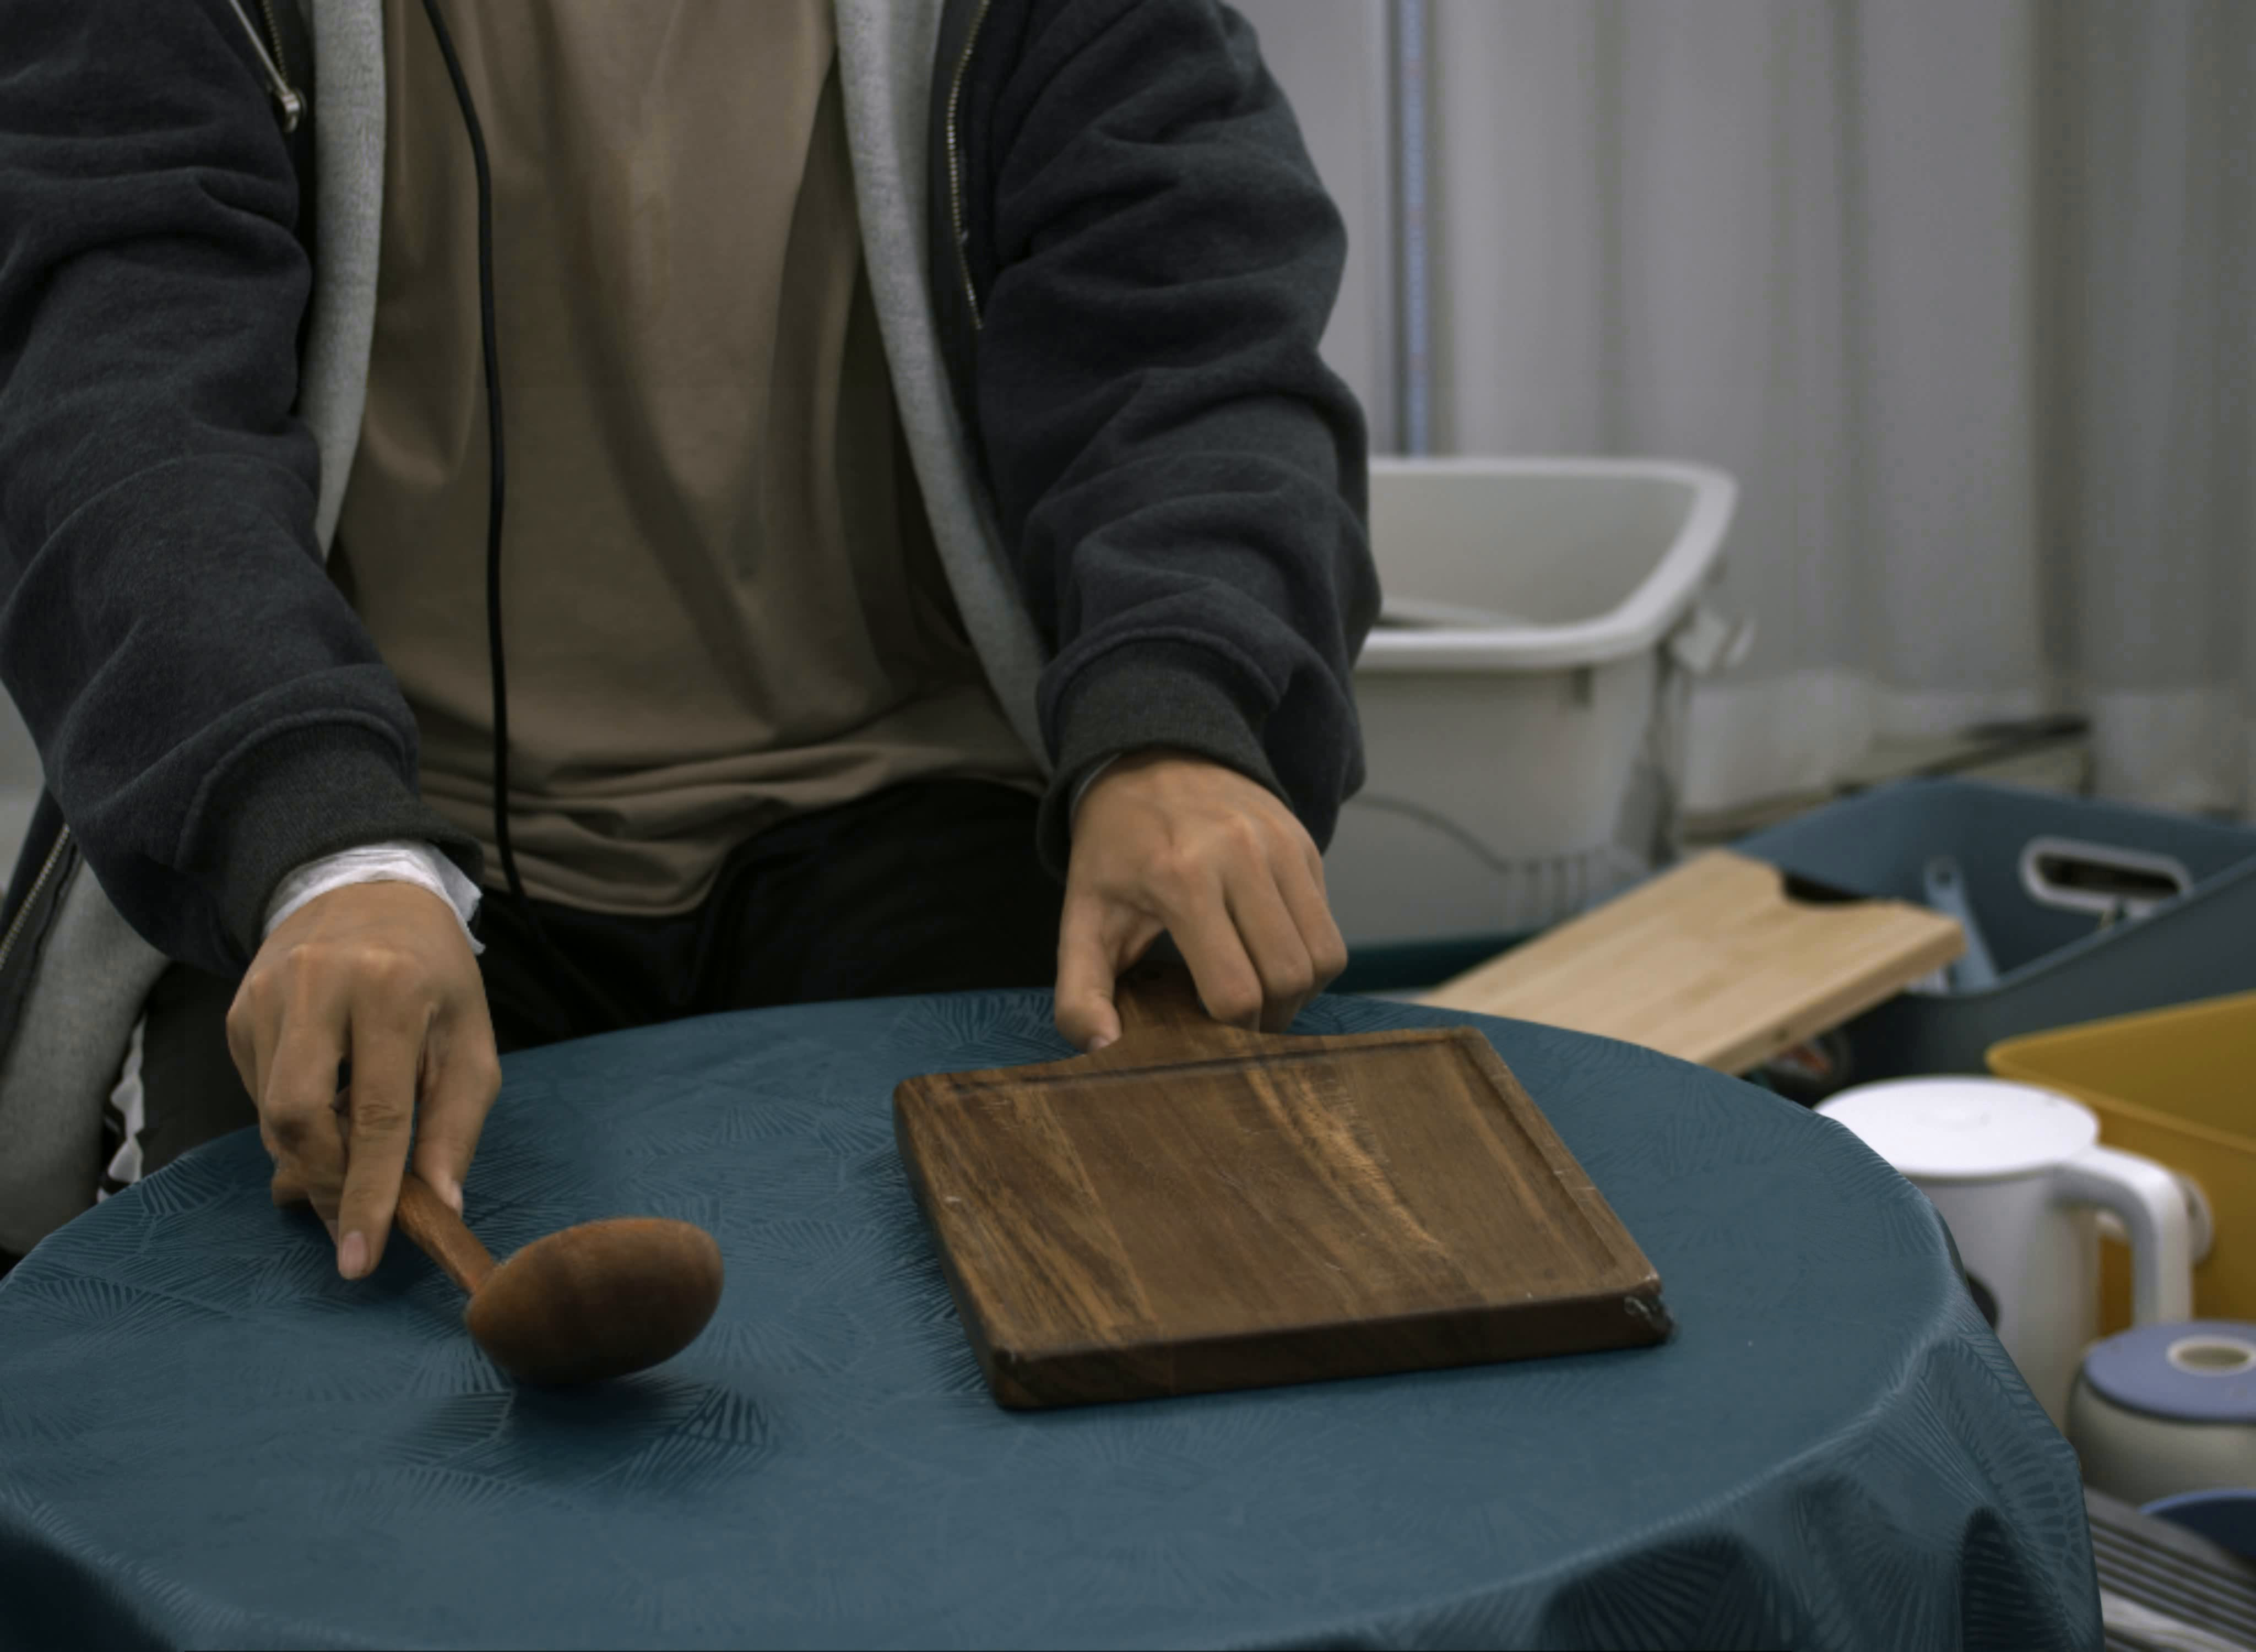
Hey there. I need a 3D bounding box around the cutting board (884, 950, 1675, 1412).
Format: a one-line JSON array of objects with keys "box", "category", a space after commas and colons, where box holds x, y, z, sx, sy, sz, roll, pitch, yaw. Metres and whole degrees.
[{"box": [0.031, 0.100, 1.706, 0.200, 0.023, 0.355, -4, 17, -8], "category": "cutting board"}]

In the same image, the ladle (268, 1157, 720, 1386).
[{"box": [-0.200, 0.115, 1.629, 0.076, 0.065, 0.262, 4, 9, -30], "category": "ladle"}]
